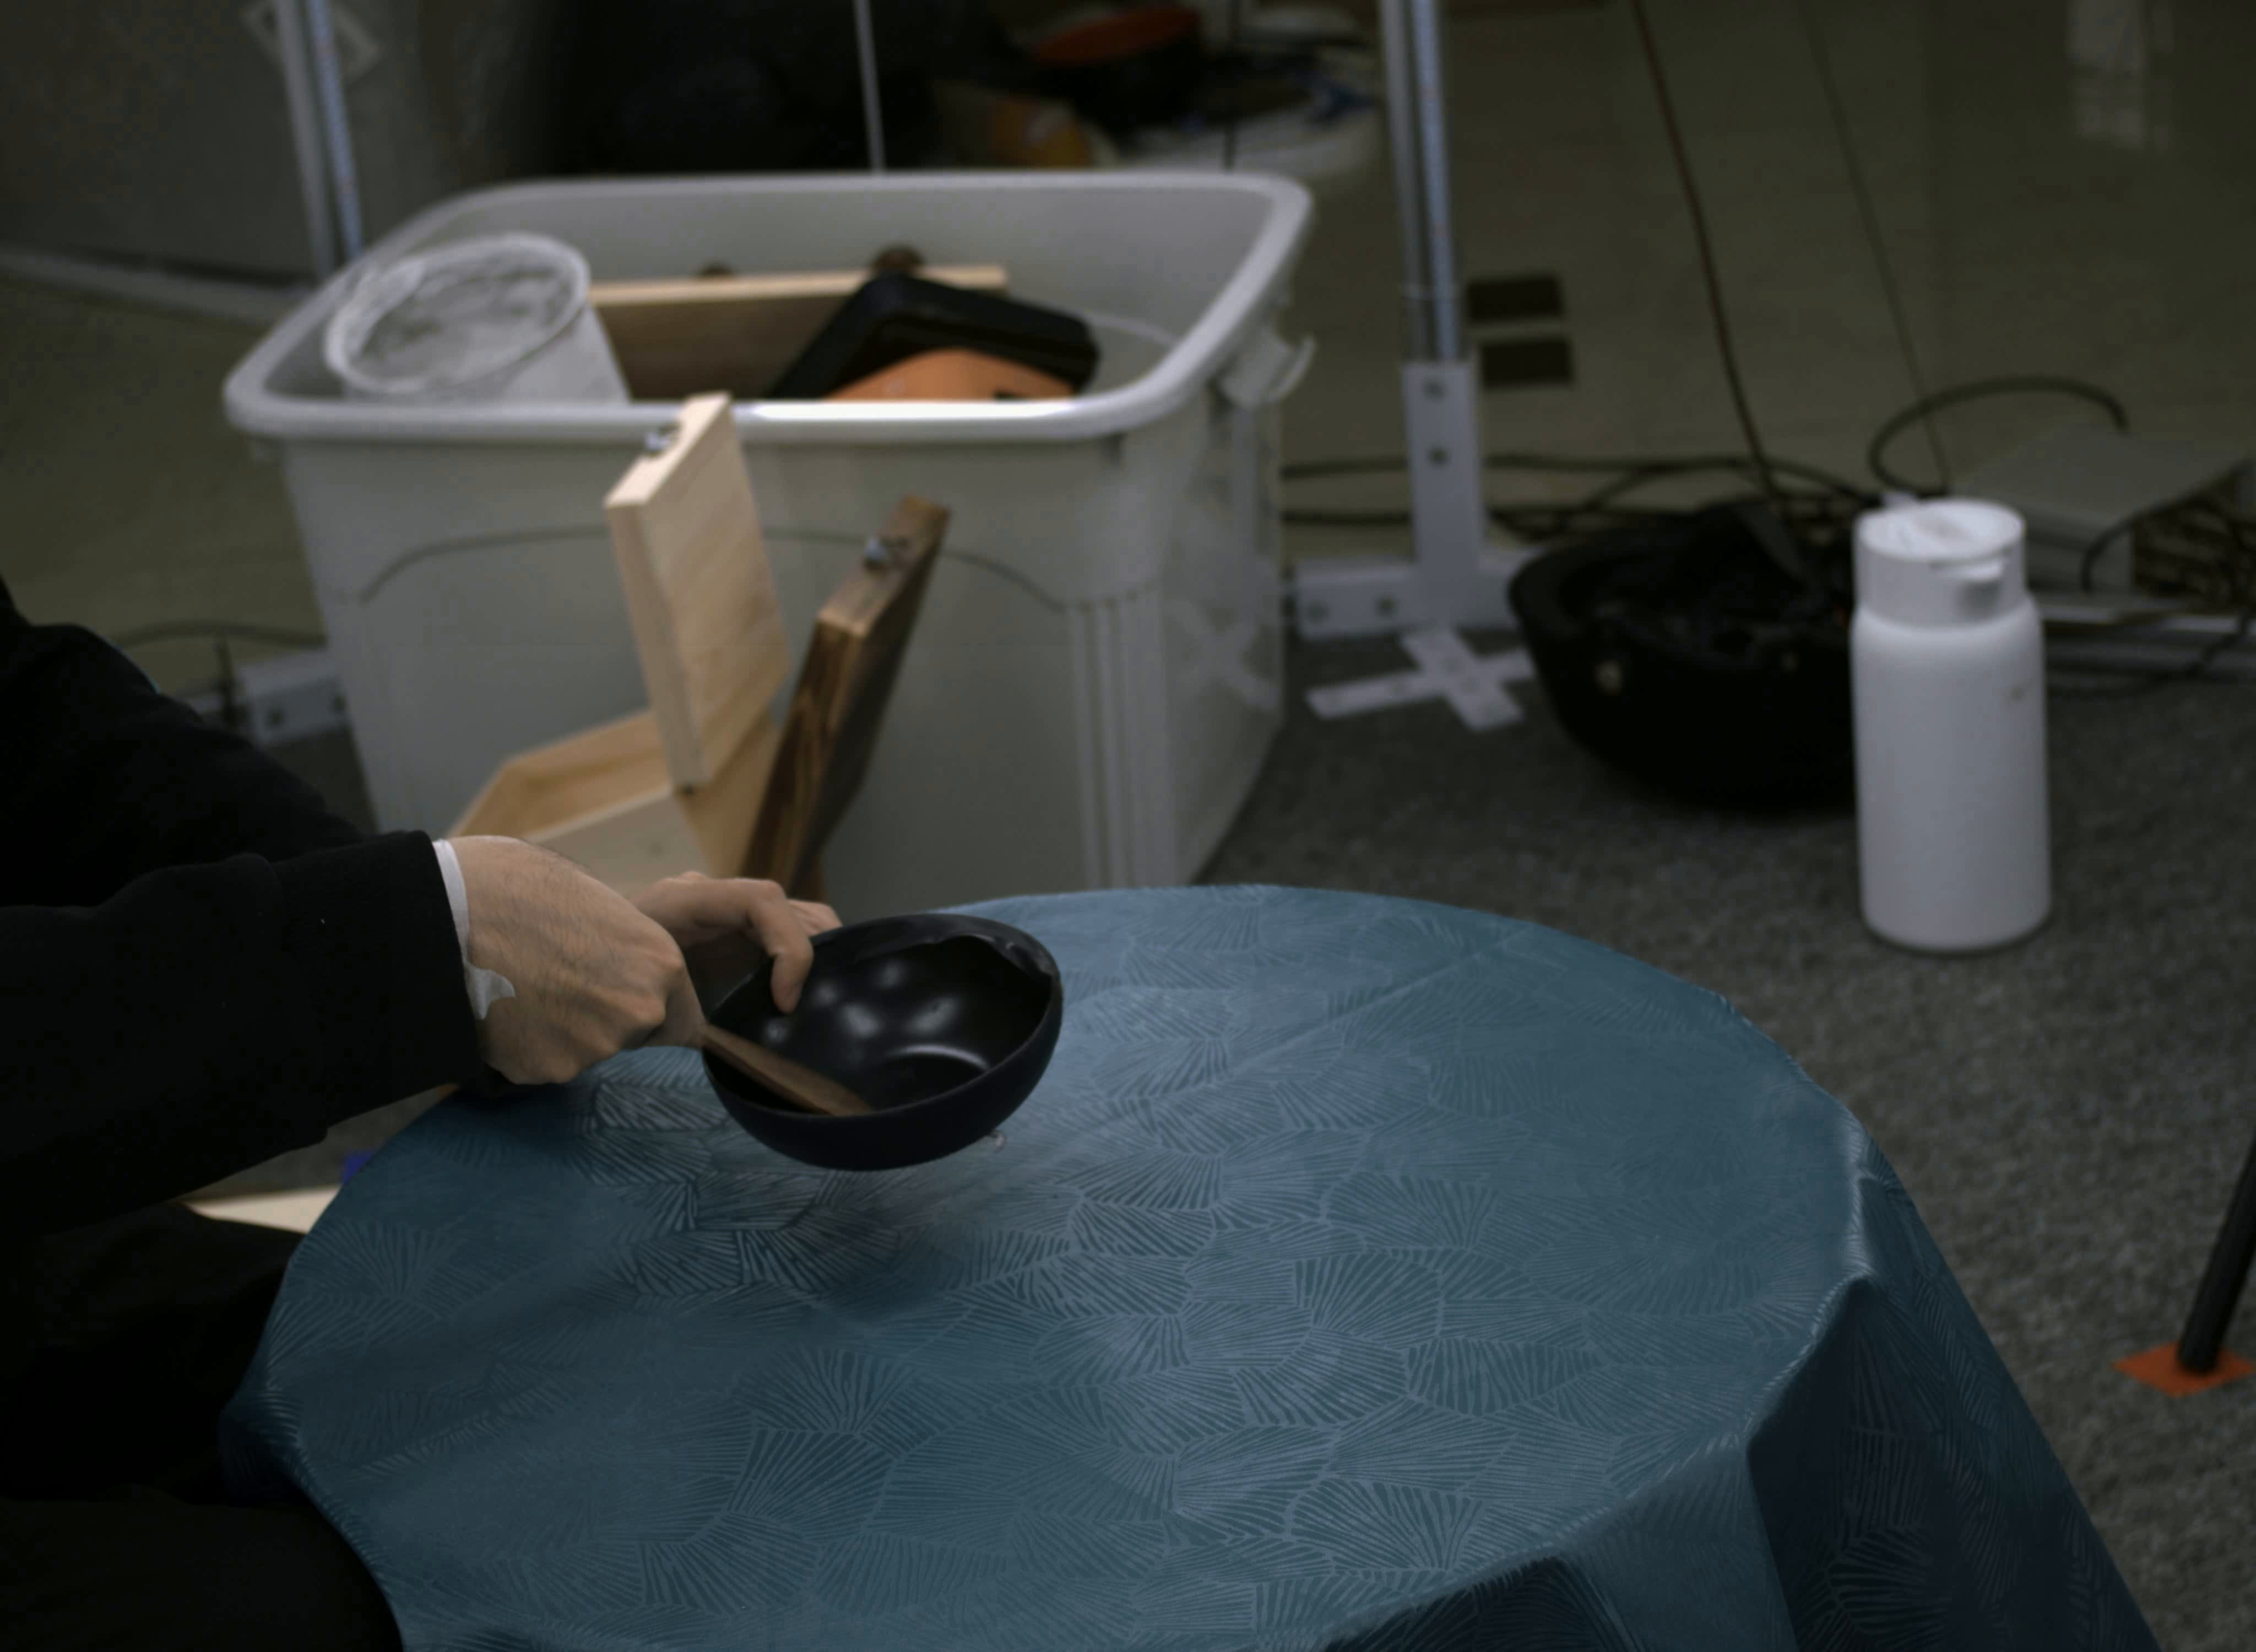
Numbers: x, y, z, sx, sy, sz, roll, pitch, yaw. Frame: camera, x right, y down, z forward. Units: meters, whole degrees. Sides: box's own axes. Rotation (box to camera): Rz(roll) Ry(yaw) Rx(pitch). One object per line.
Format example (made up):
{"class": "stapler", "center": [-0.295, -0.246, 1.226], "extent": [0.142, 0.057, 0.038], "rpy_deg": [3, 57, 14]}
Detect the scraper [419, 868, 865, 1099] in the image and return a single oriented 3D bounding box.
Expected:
{"class": "scraper", "center": [-0.175, 0.065, 2.095], "extent": [0.213, 0.011, 0.075], "rpy_deg": [31, 3, -31]}

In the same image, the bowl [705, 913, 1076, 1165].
{"class": "bowl", "center": [-0.089, 0.088, 2.141], "extent": [0.140, 0.050, 0.138], "rpy_deg": [-2, 31, 1]}
